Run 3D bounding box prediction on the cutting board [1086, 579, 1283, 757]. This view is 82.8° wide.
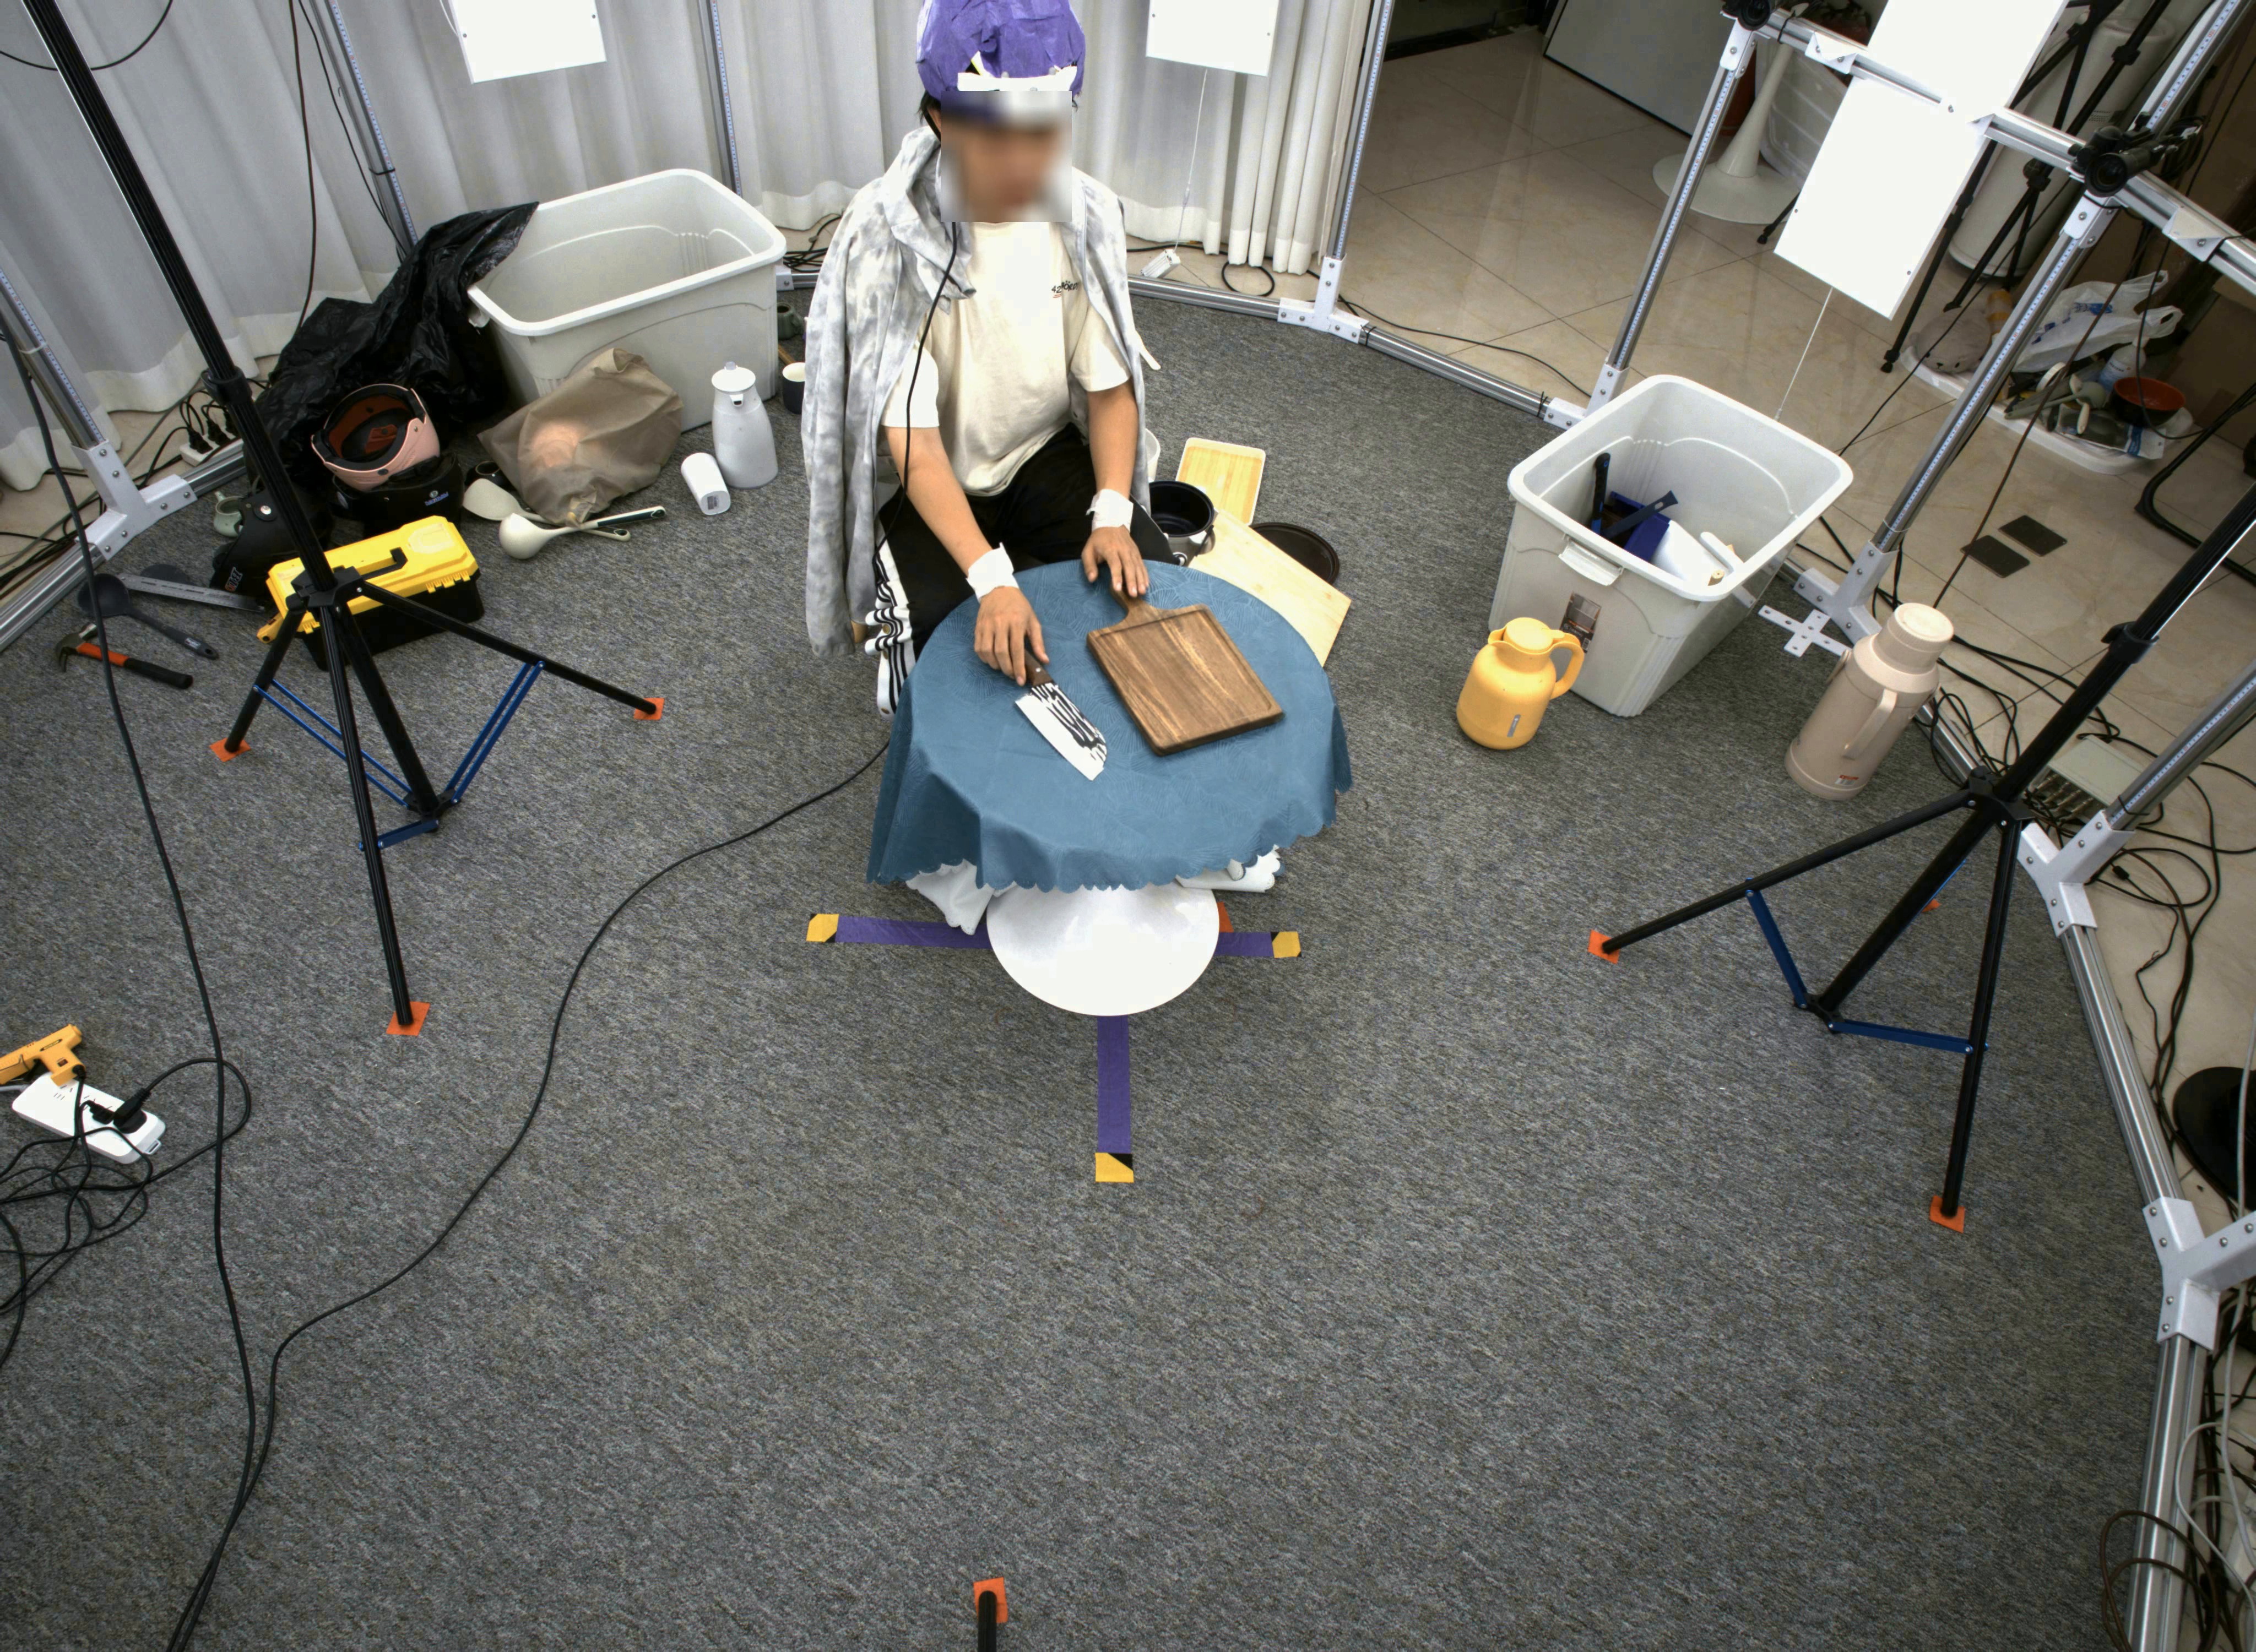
[{"bbox_3d":[0.057,-0.250,1.872,0.201,0.022,0.360,-18,52,-17],"label":"cutting board"}]

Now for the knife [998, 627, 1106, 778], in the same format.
[{"bbox_3d":[-0.116,-0.175,1.792,0.068,0.023,0.305,-26,58,-22],"label":"knife"}]
